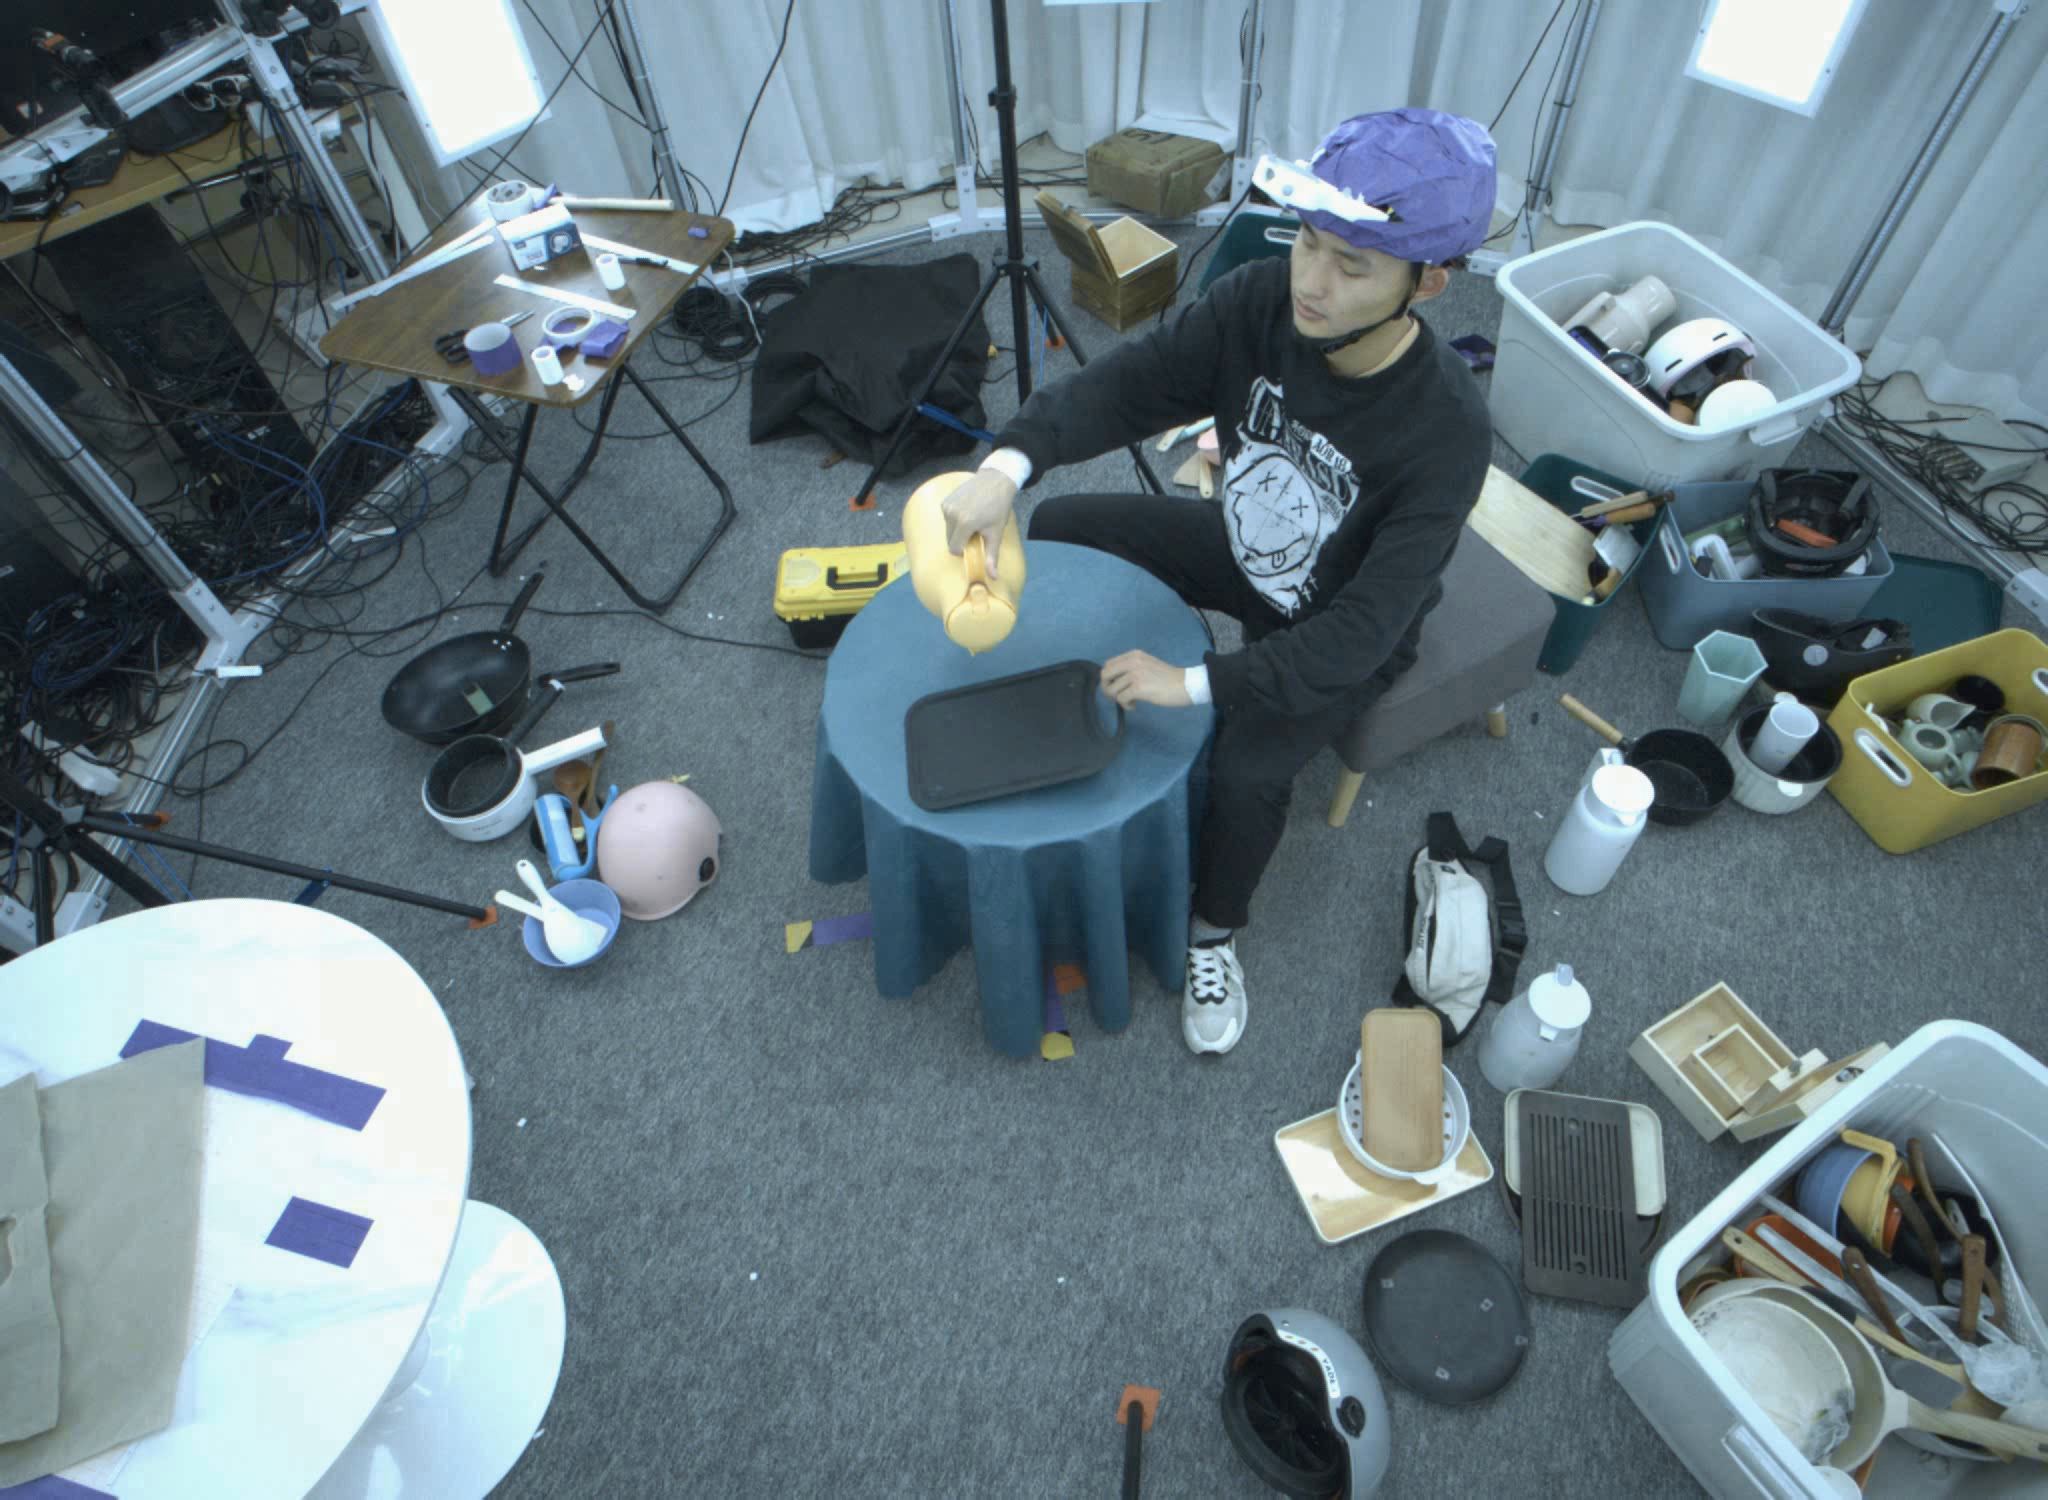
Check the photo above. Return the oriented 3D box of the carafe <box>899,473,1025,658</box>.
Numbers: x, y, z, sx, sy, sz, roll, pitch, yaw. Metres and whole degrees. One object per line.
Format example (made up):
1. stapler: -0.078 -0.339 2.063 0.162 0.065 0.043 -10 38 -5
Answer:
1. carafe: -0.079 -0.269 1.687 0.165 0.204 0.256 -9 53 -10

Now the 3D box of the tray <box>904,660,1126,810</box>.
1. tray: -0.016 -0.028 1.766 0.324 0.010 0.208 -12 55 6
